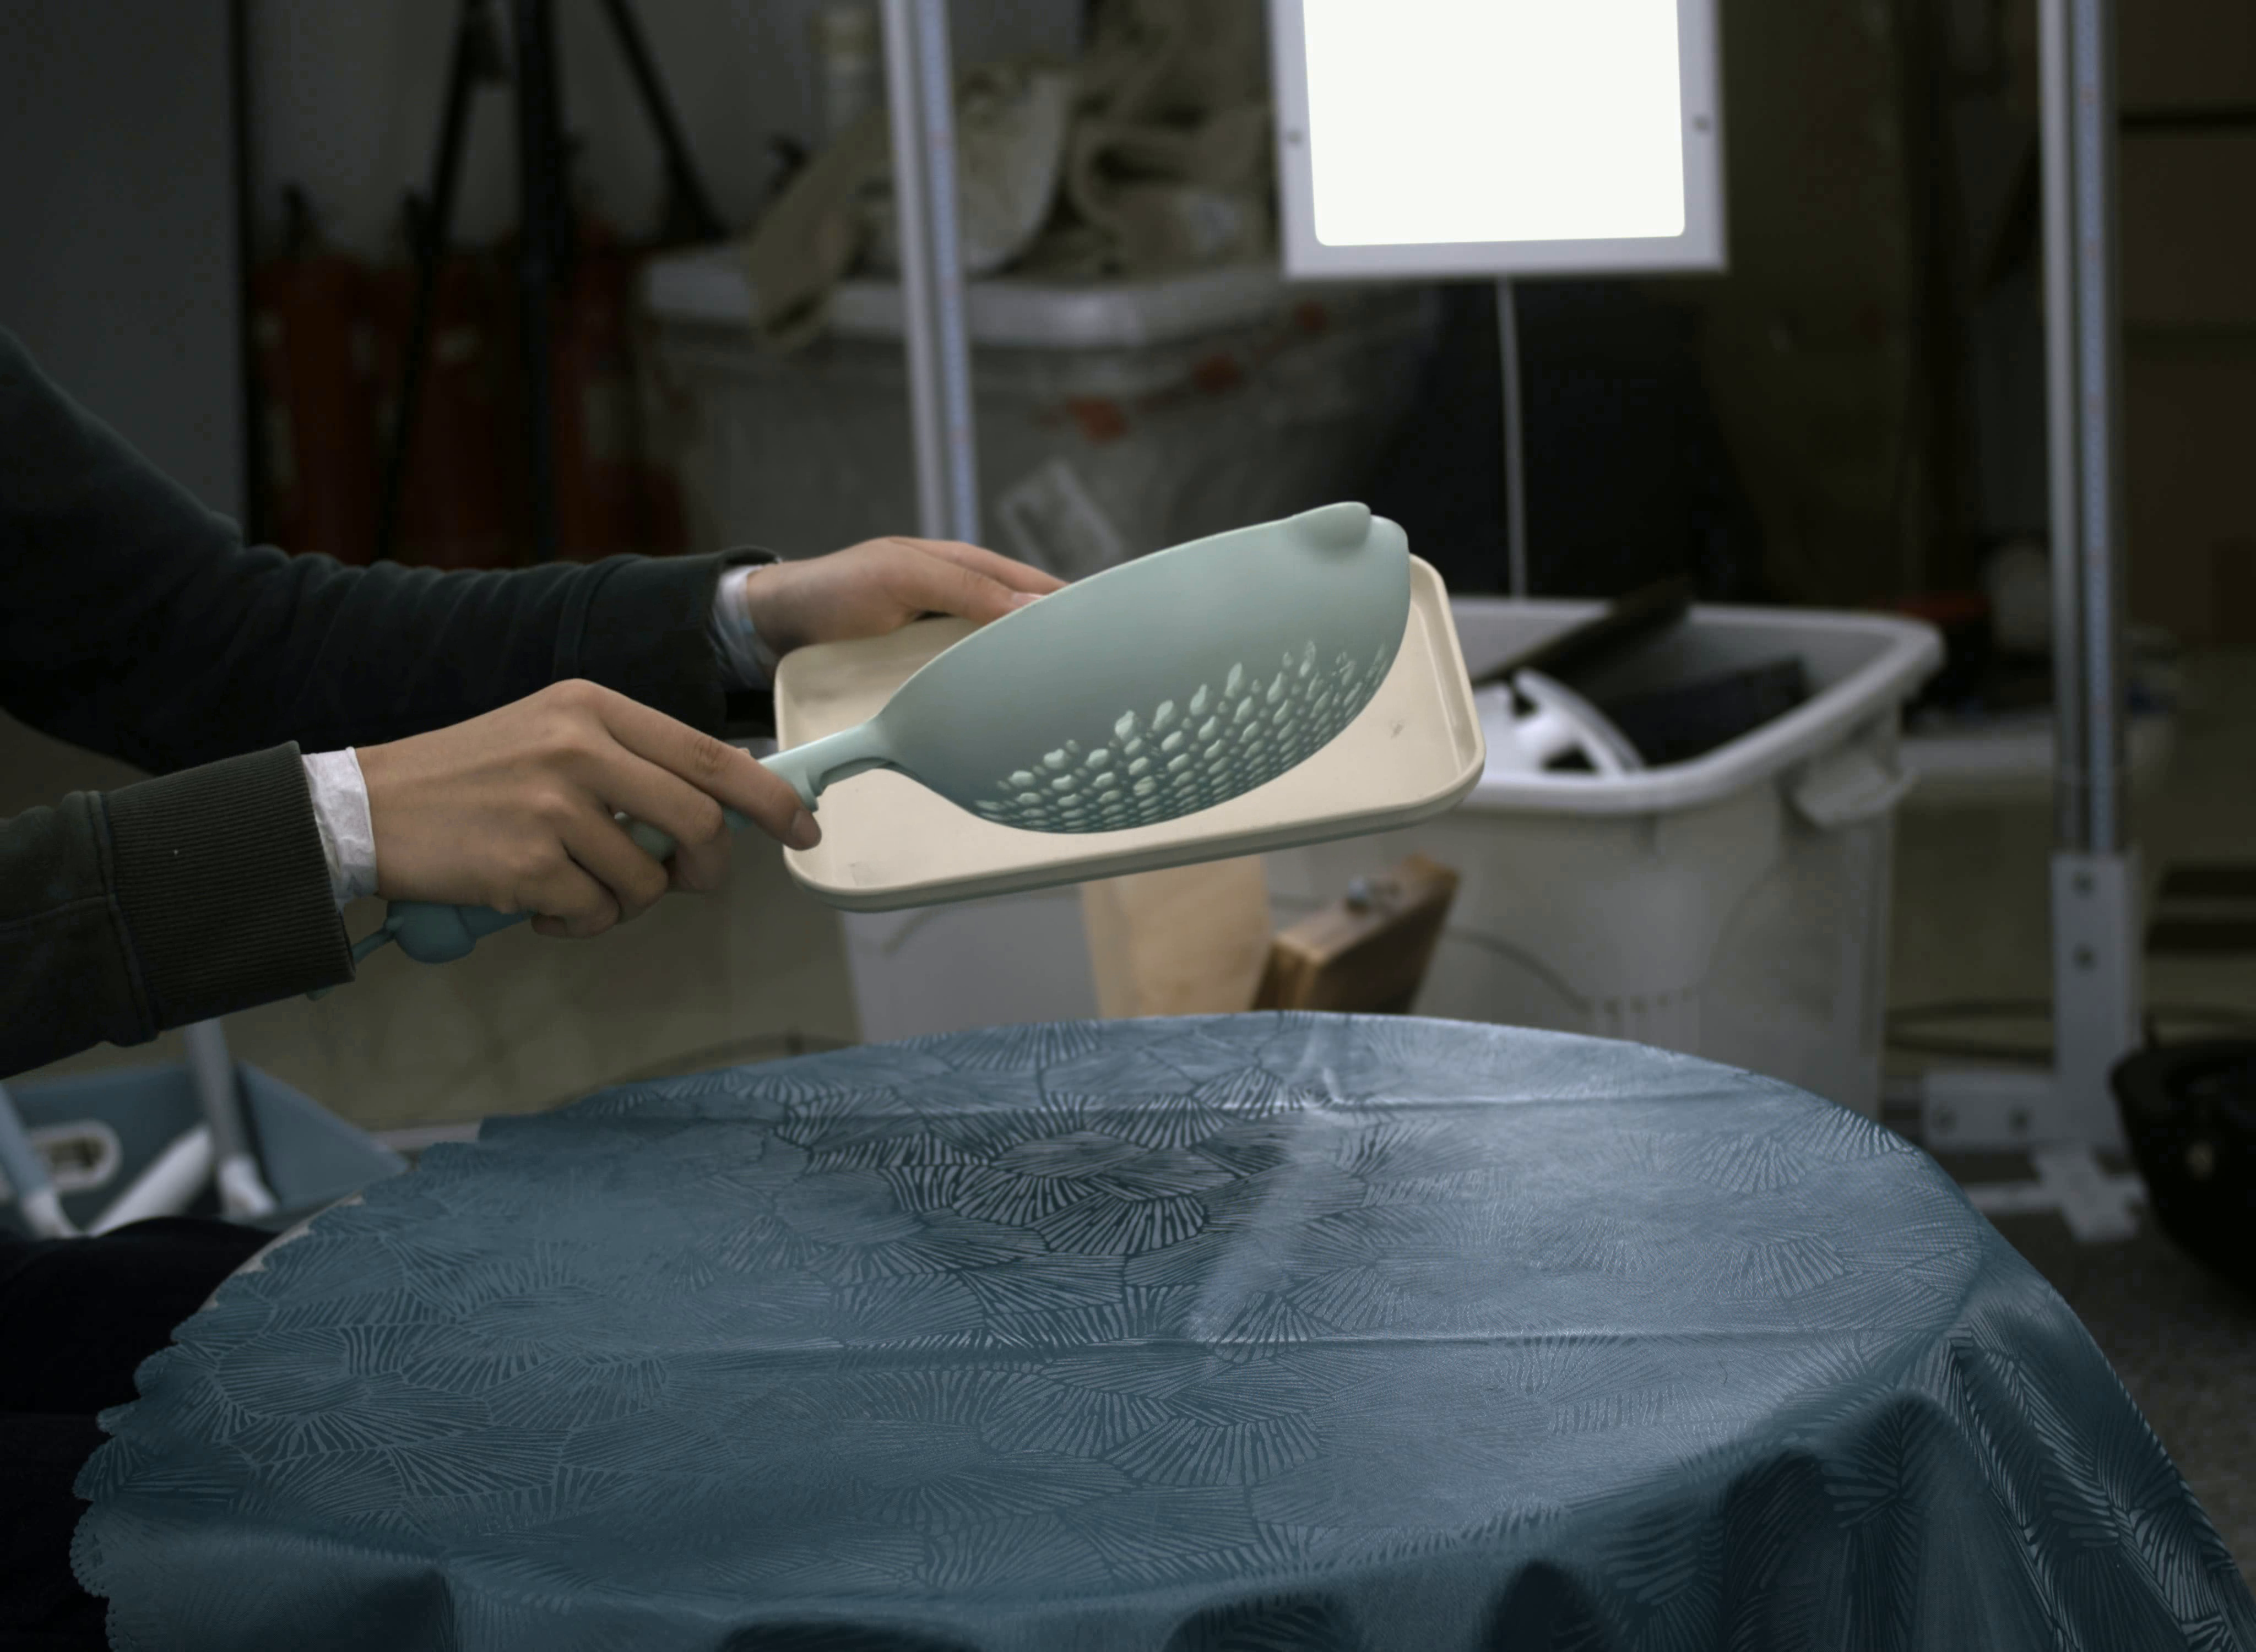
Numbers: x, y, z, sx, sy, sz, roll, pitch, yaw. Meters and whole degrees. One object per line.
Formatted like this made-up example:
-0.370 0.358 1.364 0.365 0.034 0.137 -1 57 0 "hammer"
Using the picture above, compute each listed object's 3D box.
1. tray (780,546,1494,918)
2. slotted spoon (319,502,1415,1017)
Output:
0.001 -0.032 1.886 0.239 0.017 0.171 -11 33 3 "tray"
-0.080 -0.016 1.689 0.359 0.075 0.169 -12 -12 3 "slotted spoon"
